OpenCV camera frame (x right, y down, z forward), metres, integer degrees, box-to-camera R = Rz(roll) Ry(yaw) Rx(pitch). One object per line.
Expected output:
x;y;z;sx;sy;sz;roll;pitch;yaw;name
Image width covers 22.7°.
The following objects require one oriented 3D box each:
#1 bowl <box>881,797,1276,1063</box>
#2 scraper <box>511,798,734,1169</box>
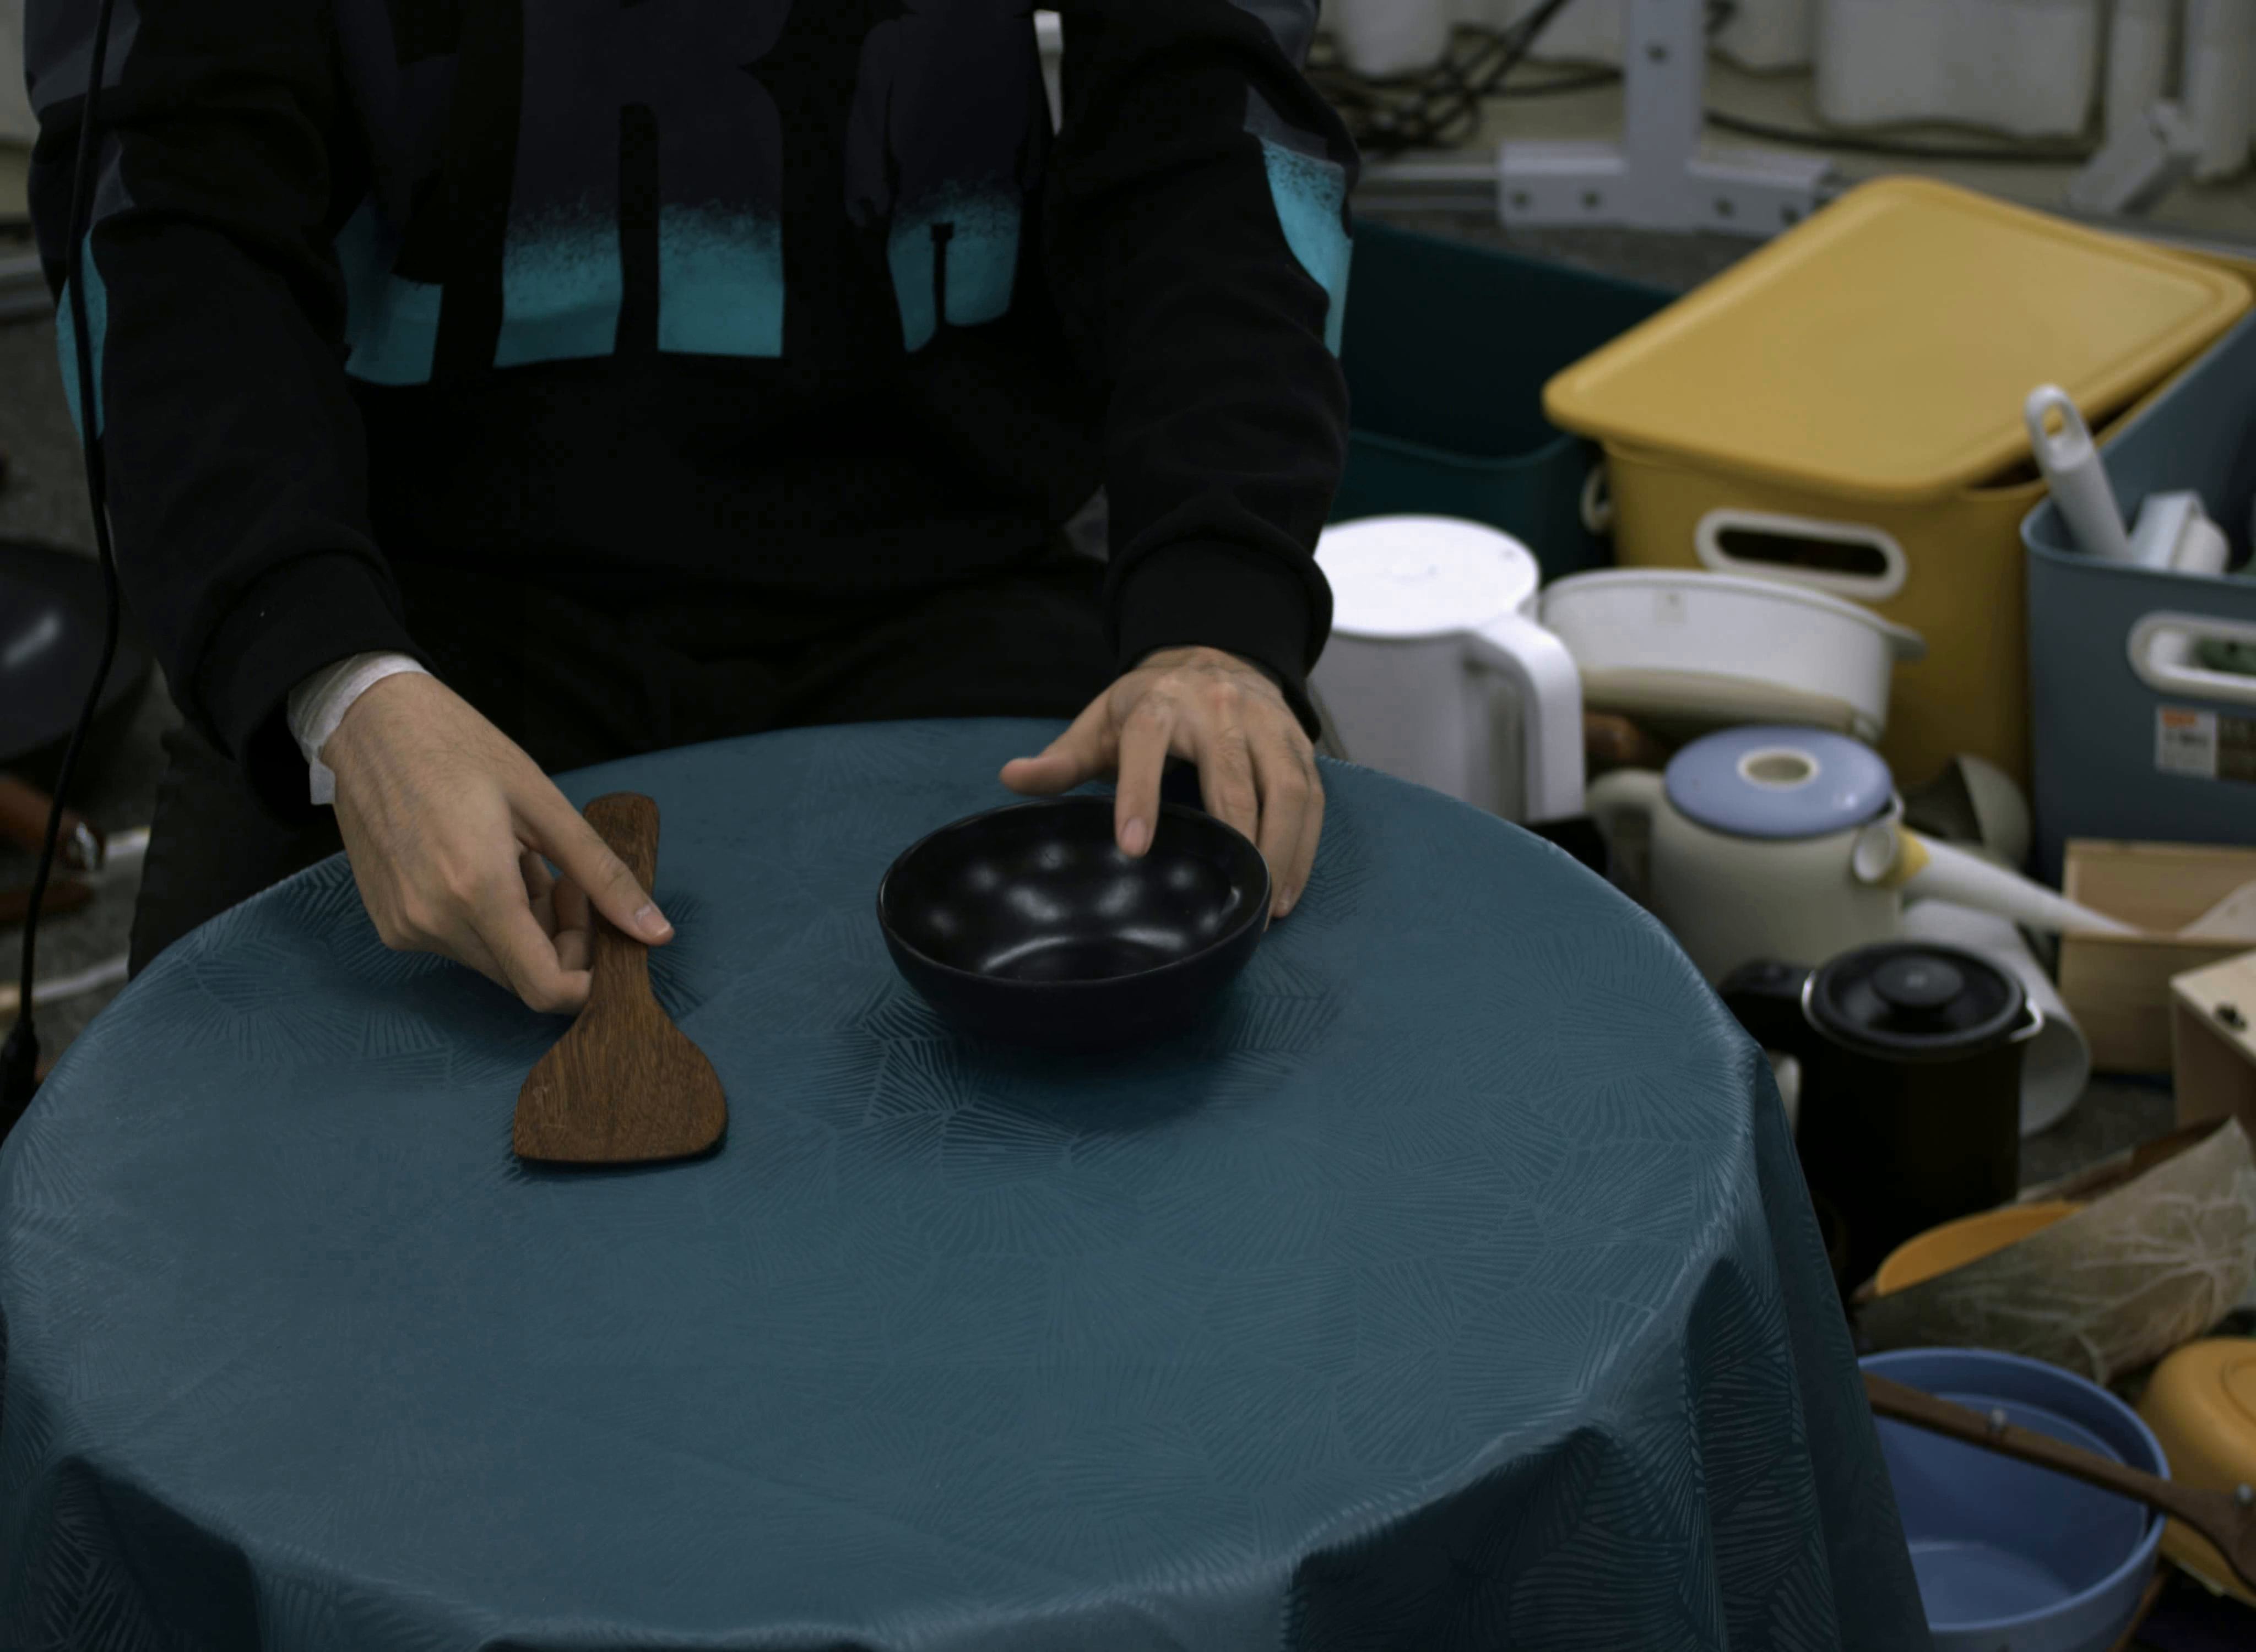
-0.015;0.044;1.962;0.139;0.049;0.142;-5;27;3;bowl
-0.177;0.054;1.973;0.075;0.010;0.215;-1;36;-4;scraper
